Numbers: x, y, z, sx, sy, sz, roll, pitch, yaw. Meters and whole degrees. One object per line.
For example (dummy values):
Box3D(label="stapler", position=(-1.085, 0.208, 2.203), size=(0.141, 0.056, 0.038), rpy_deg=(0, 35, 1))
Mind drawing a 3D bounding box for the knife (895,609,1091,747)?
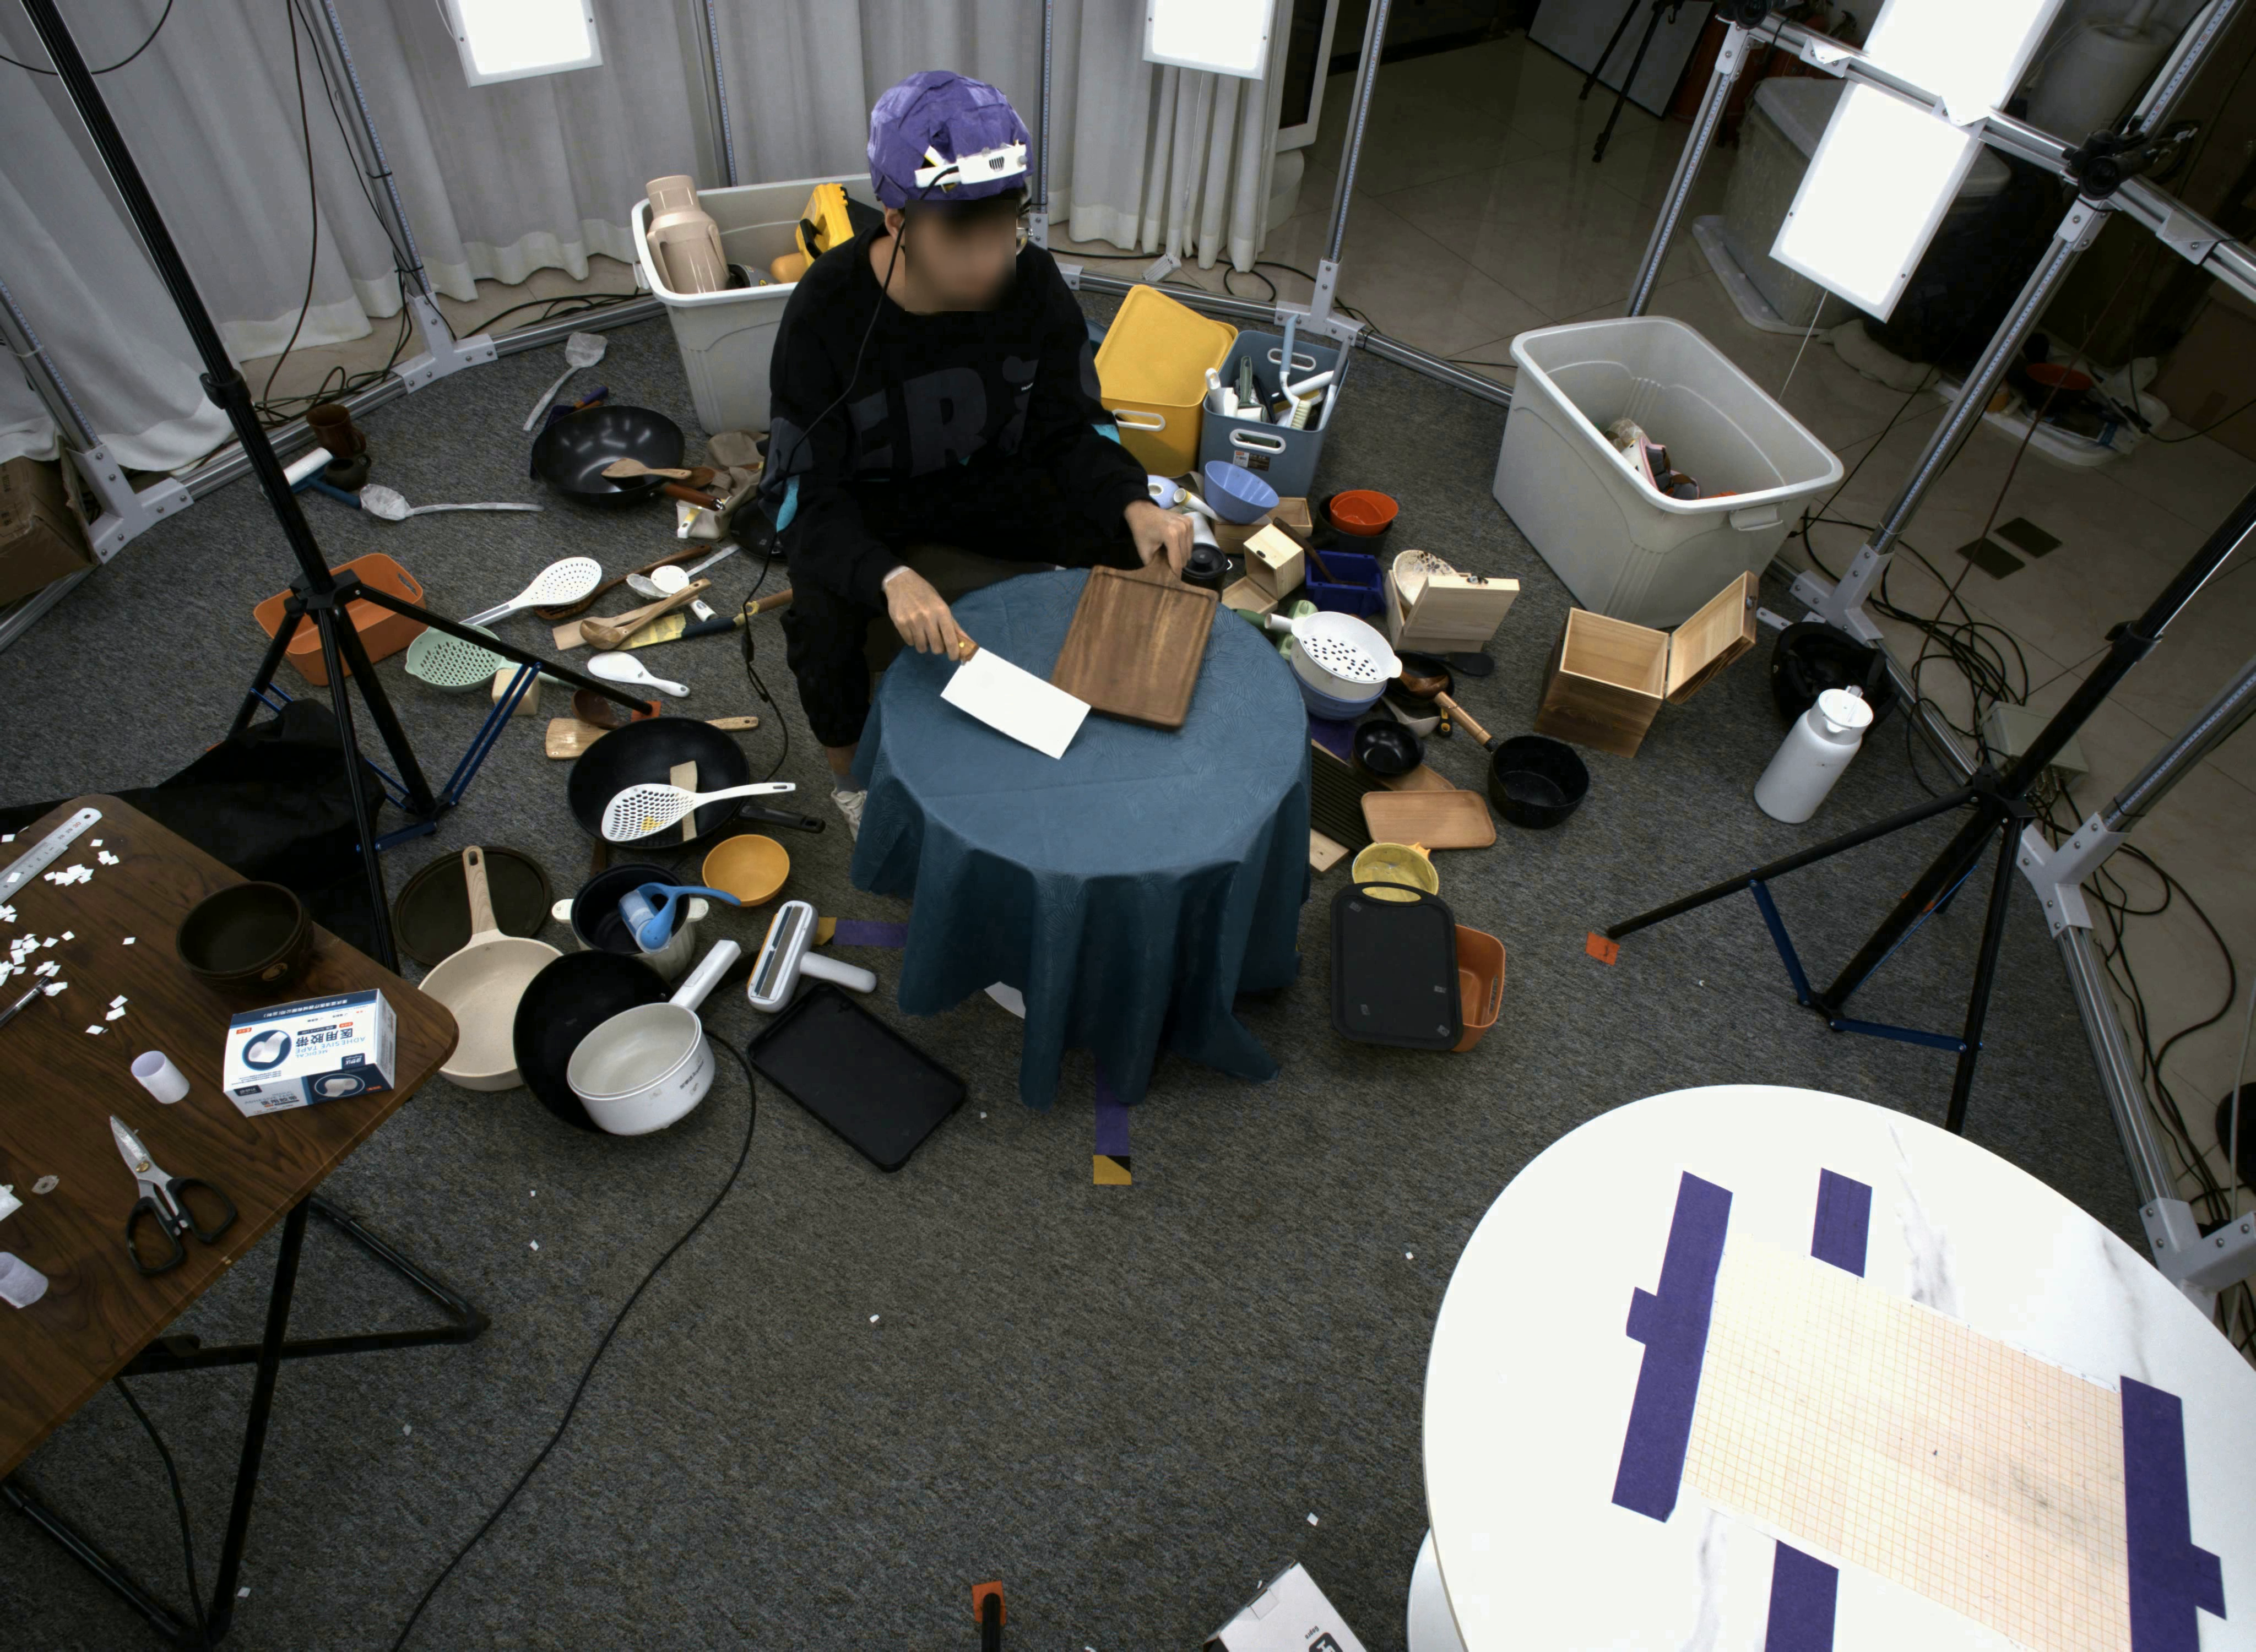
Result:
Box3D(label="knife", position=(-0.200, -0.200, 1.776), size=(0.307, 0.020, 0.094), rpy_deg=(28, 75, 9))

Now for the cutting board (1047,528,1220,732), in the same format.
Box3D(label="cutting board", position=(0.024, -0.302, 1.879), size=(0.201, 0.023, 0.359), rpy_deg=(14, 59, 8))
